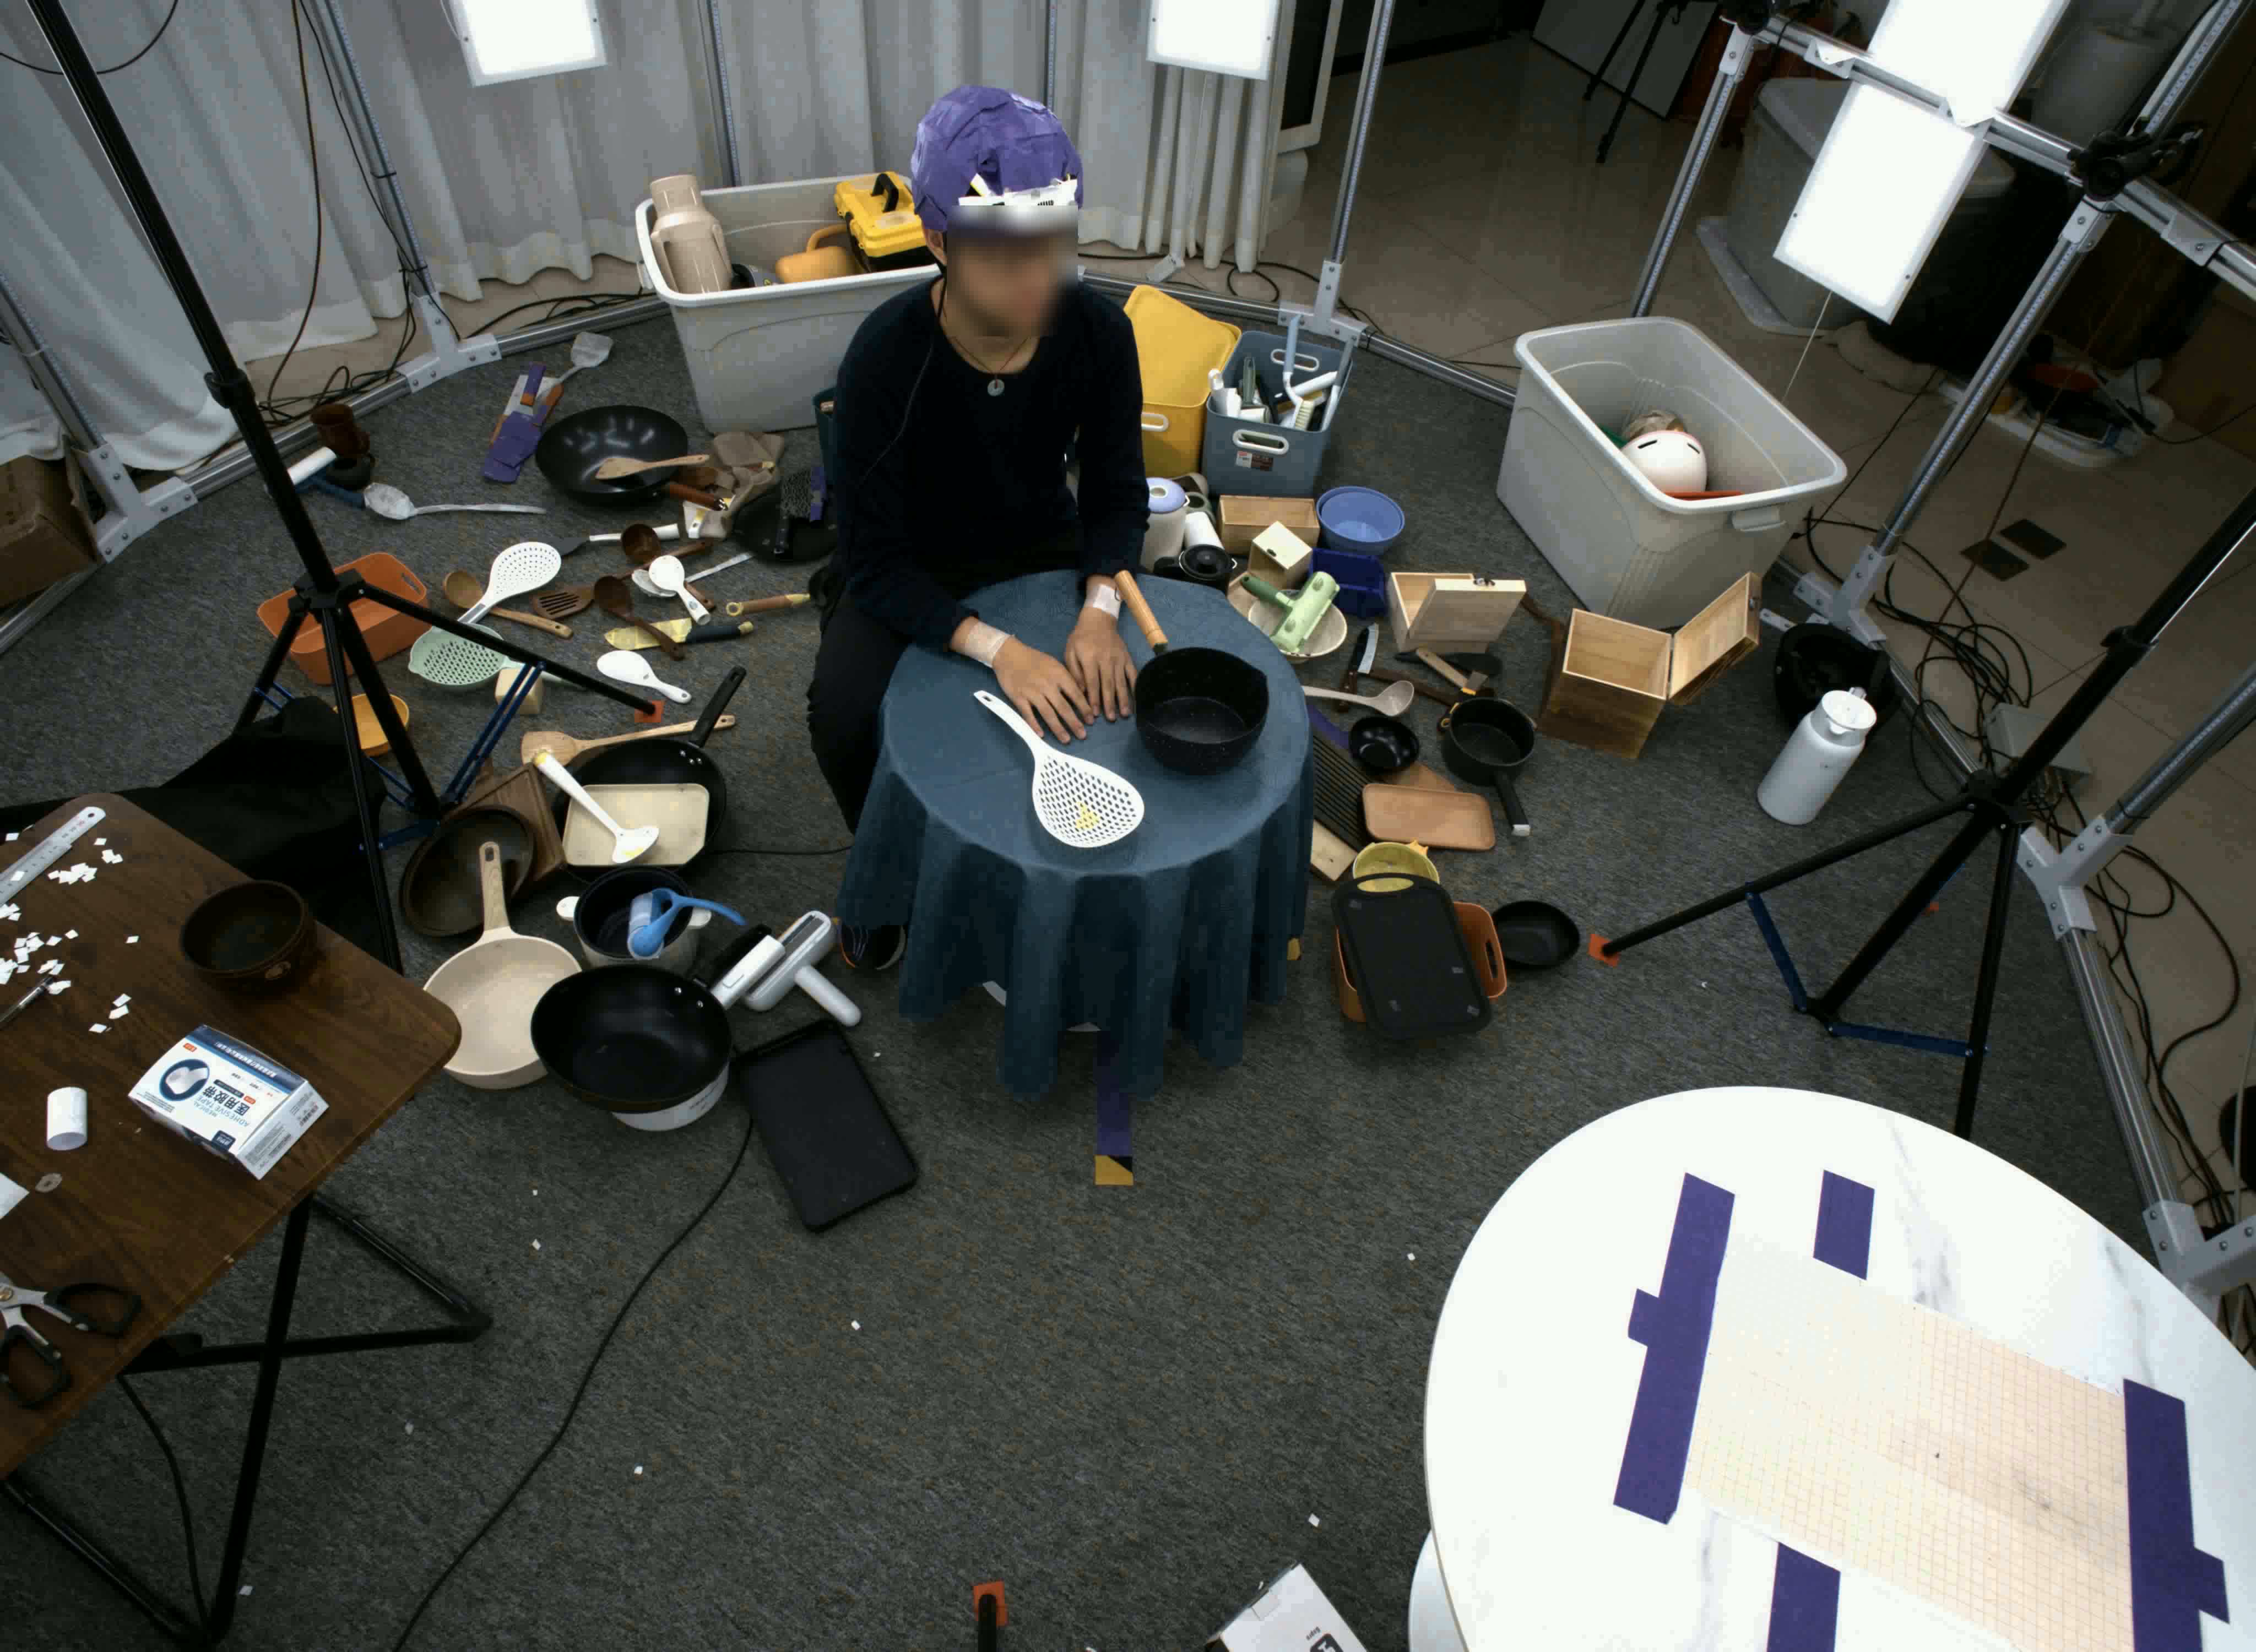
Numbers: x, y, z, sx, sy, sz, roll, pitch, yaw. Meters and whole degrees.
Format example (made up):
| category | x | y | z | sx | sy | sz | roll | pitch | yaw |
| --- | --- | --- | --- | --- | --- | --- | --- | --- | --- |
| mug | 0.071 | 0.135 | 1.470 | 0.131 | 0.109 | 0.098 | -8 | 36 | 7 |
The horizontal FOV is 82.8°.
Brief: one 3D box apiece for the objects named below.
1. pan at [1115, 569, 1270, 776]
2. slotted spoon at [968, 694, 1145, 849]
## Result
| category | x | y | z | sx | sy | sz | roll | pitch | yaw |
| --- | --- | --- | --- | --- | --- | --- | --- | --- | --- |
| pan | 0.061 | -0.215 | 1.790 | 0.208 | 0.105 | 0.350 | -20 | 55 | -19 |
| slotted spoon | -0.113 | -0.086 | 1.708 | 0.137 | 0.049 | 0.354 | -27 | 57 | -23 |
